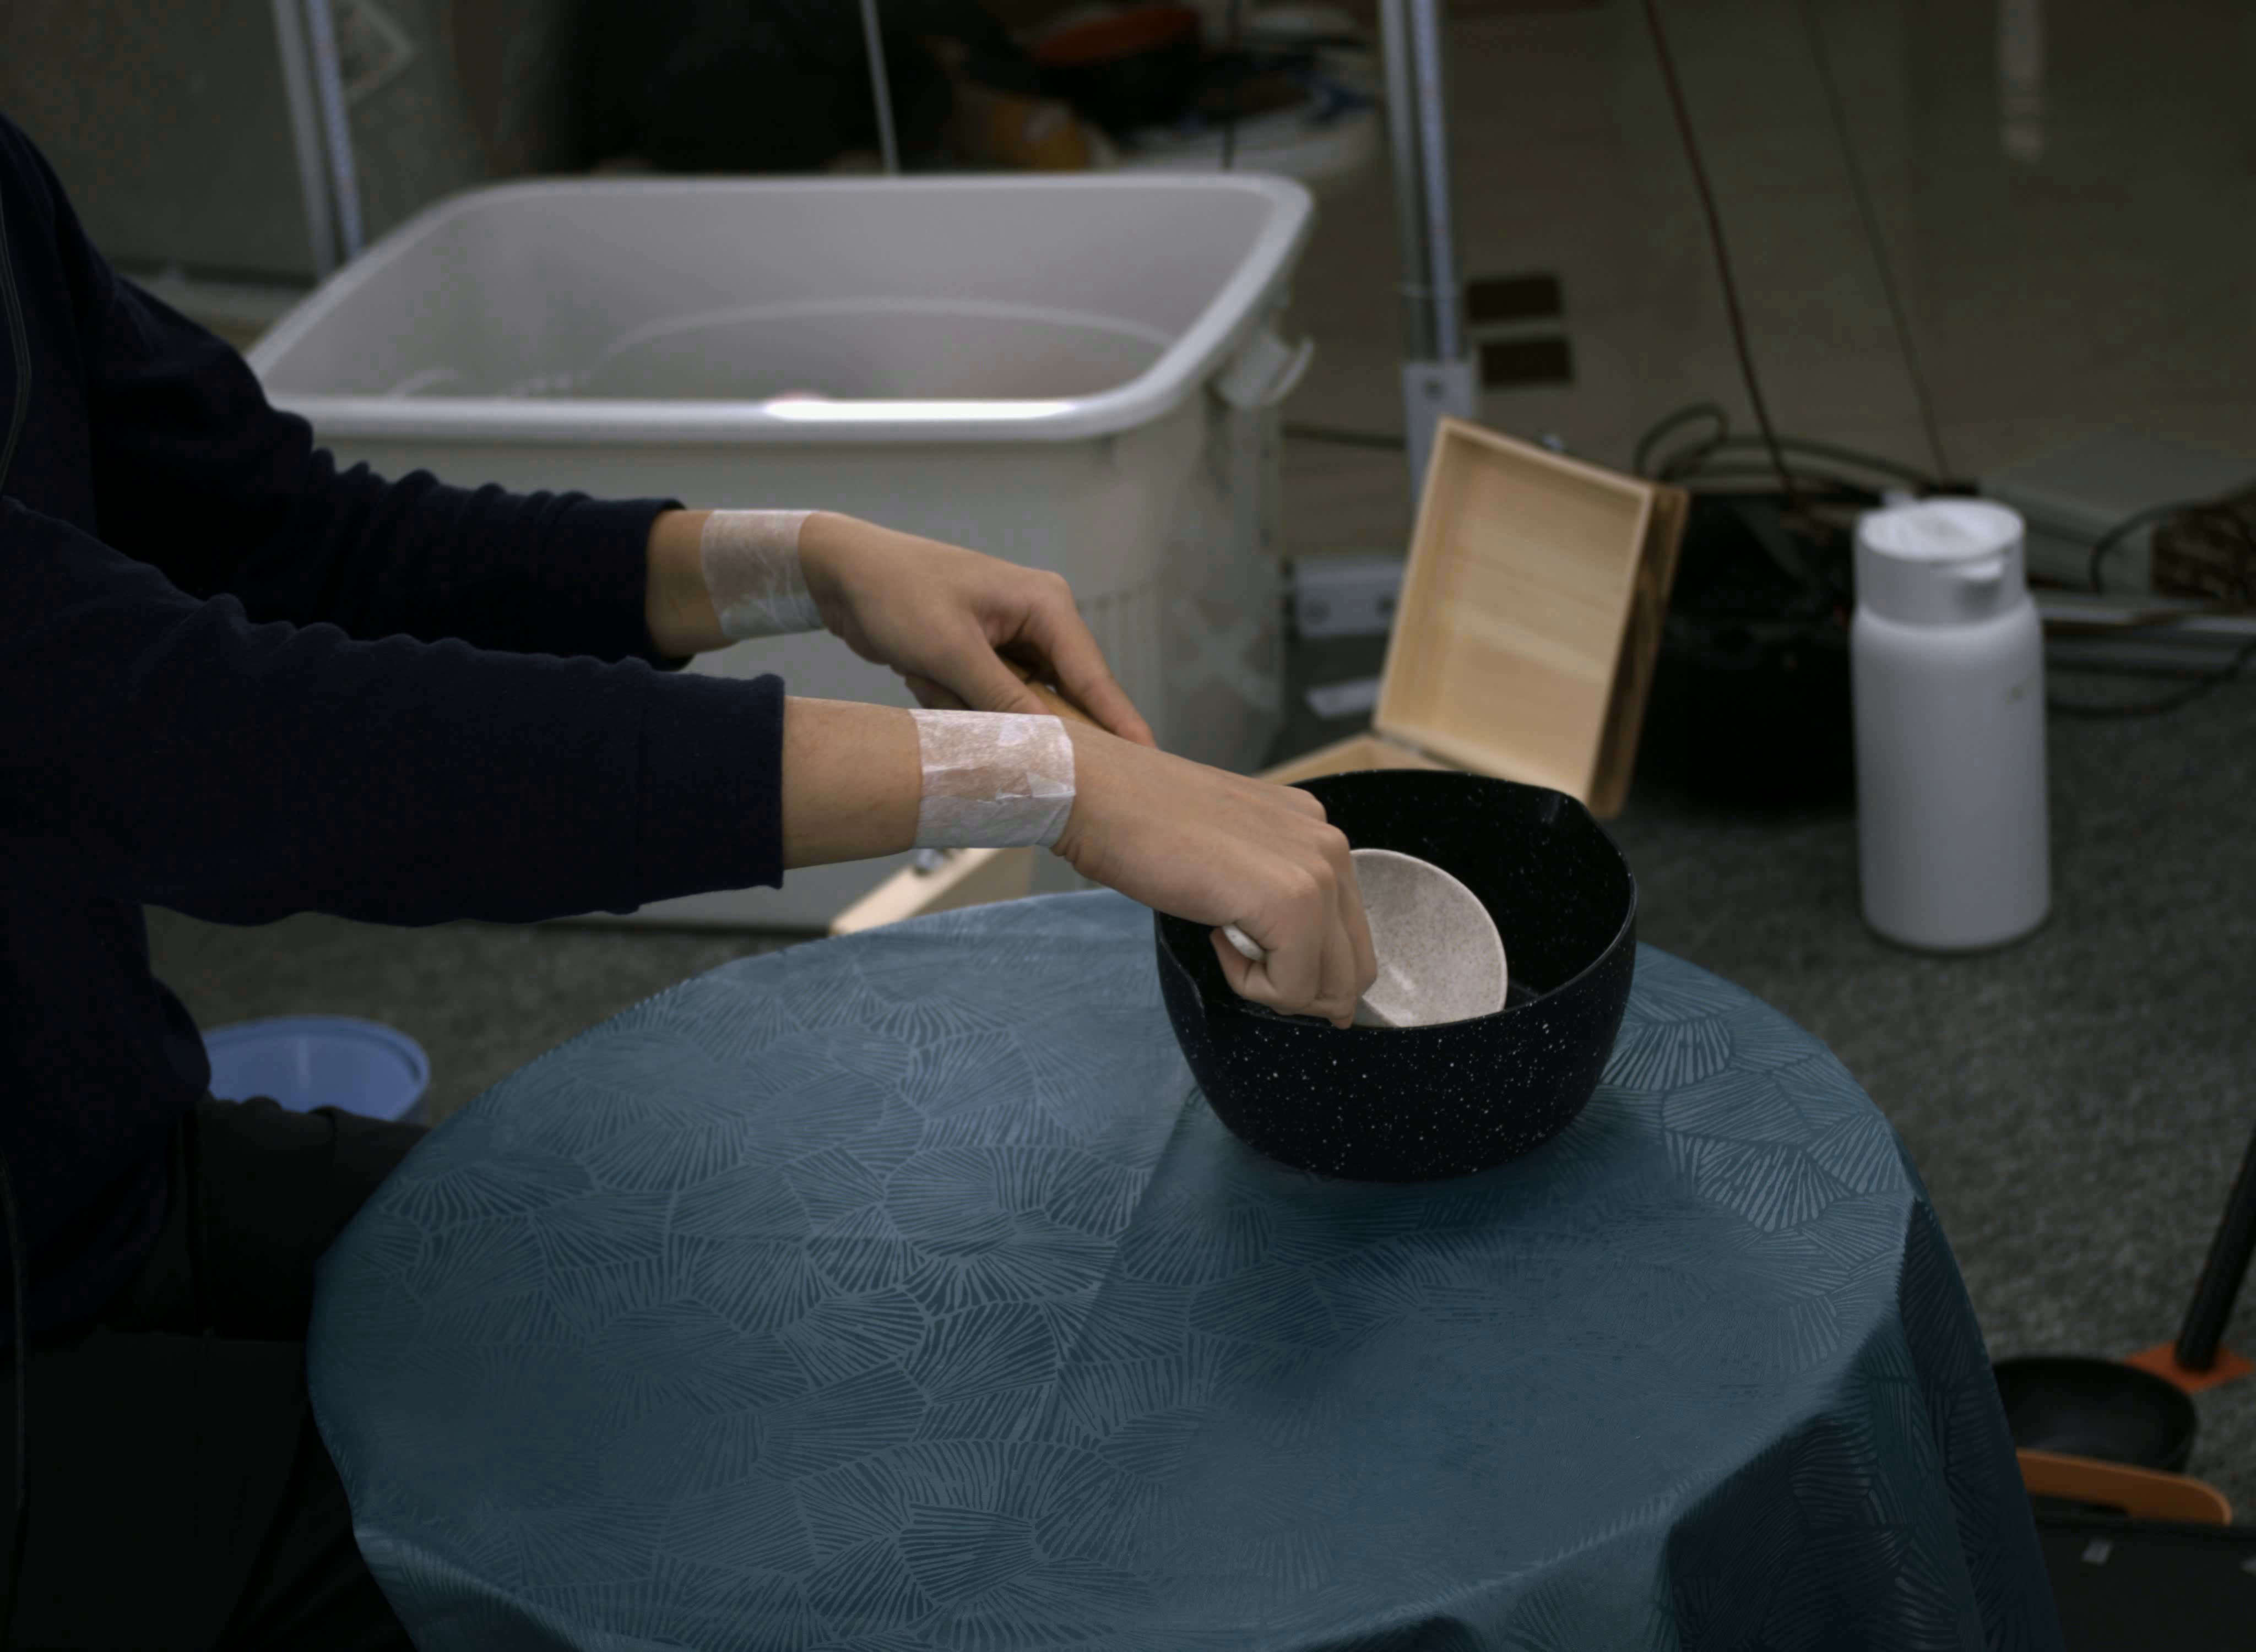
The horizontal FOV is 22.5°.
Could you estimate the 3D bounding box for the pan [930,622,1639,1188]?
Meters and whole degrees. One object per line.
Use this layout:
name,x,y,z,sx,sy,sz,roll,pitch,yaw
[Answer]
pan,0.046,0.024,2.209,0.339,0.110,0.205,27,44,37

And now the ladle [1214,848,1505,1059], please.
ladle,0.081,0.034,1.995,0.069,0.089,0.276,-35,-11,4
